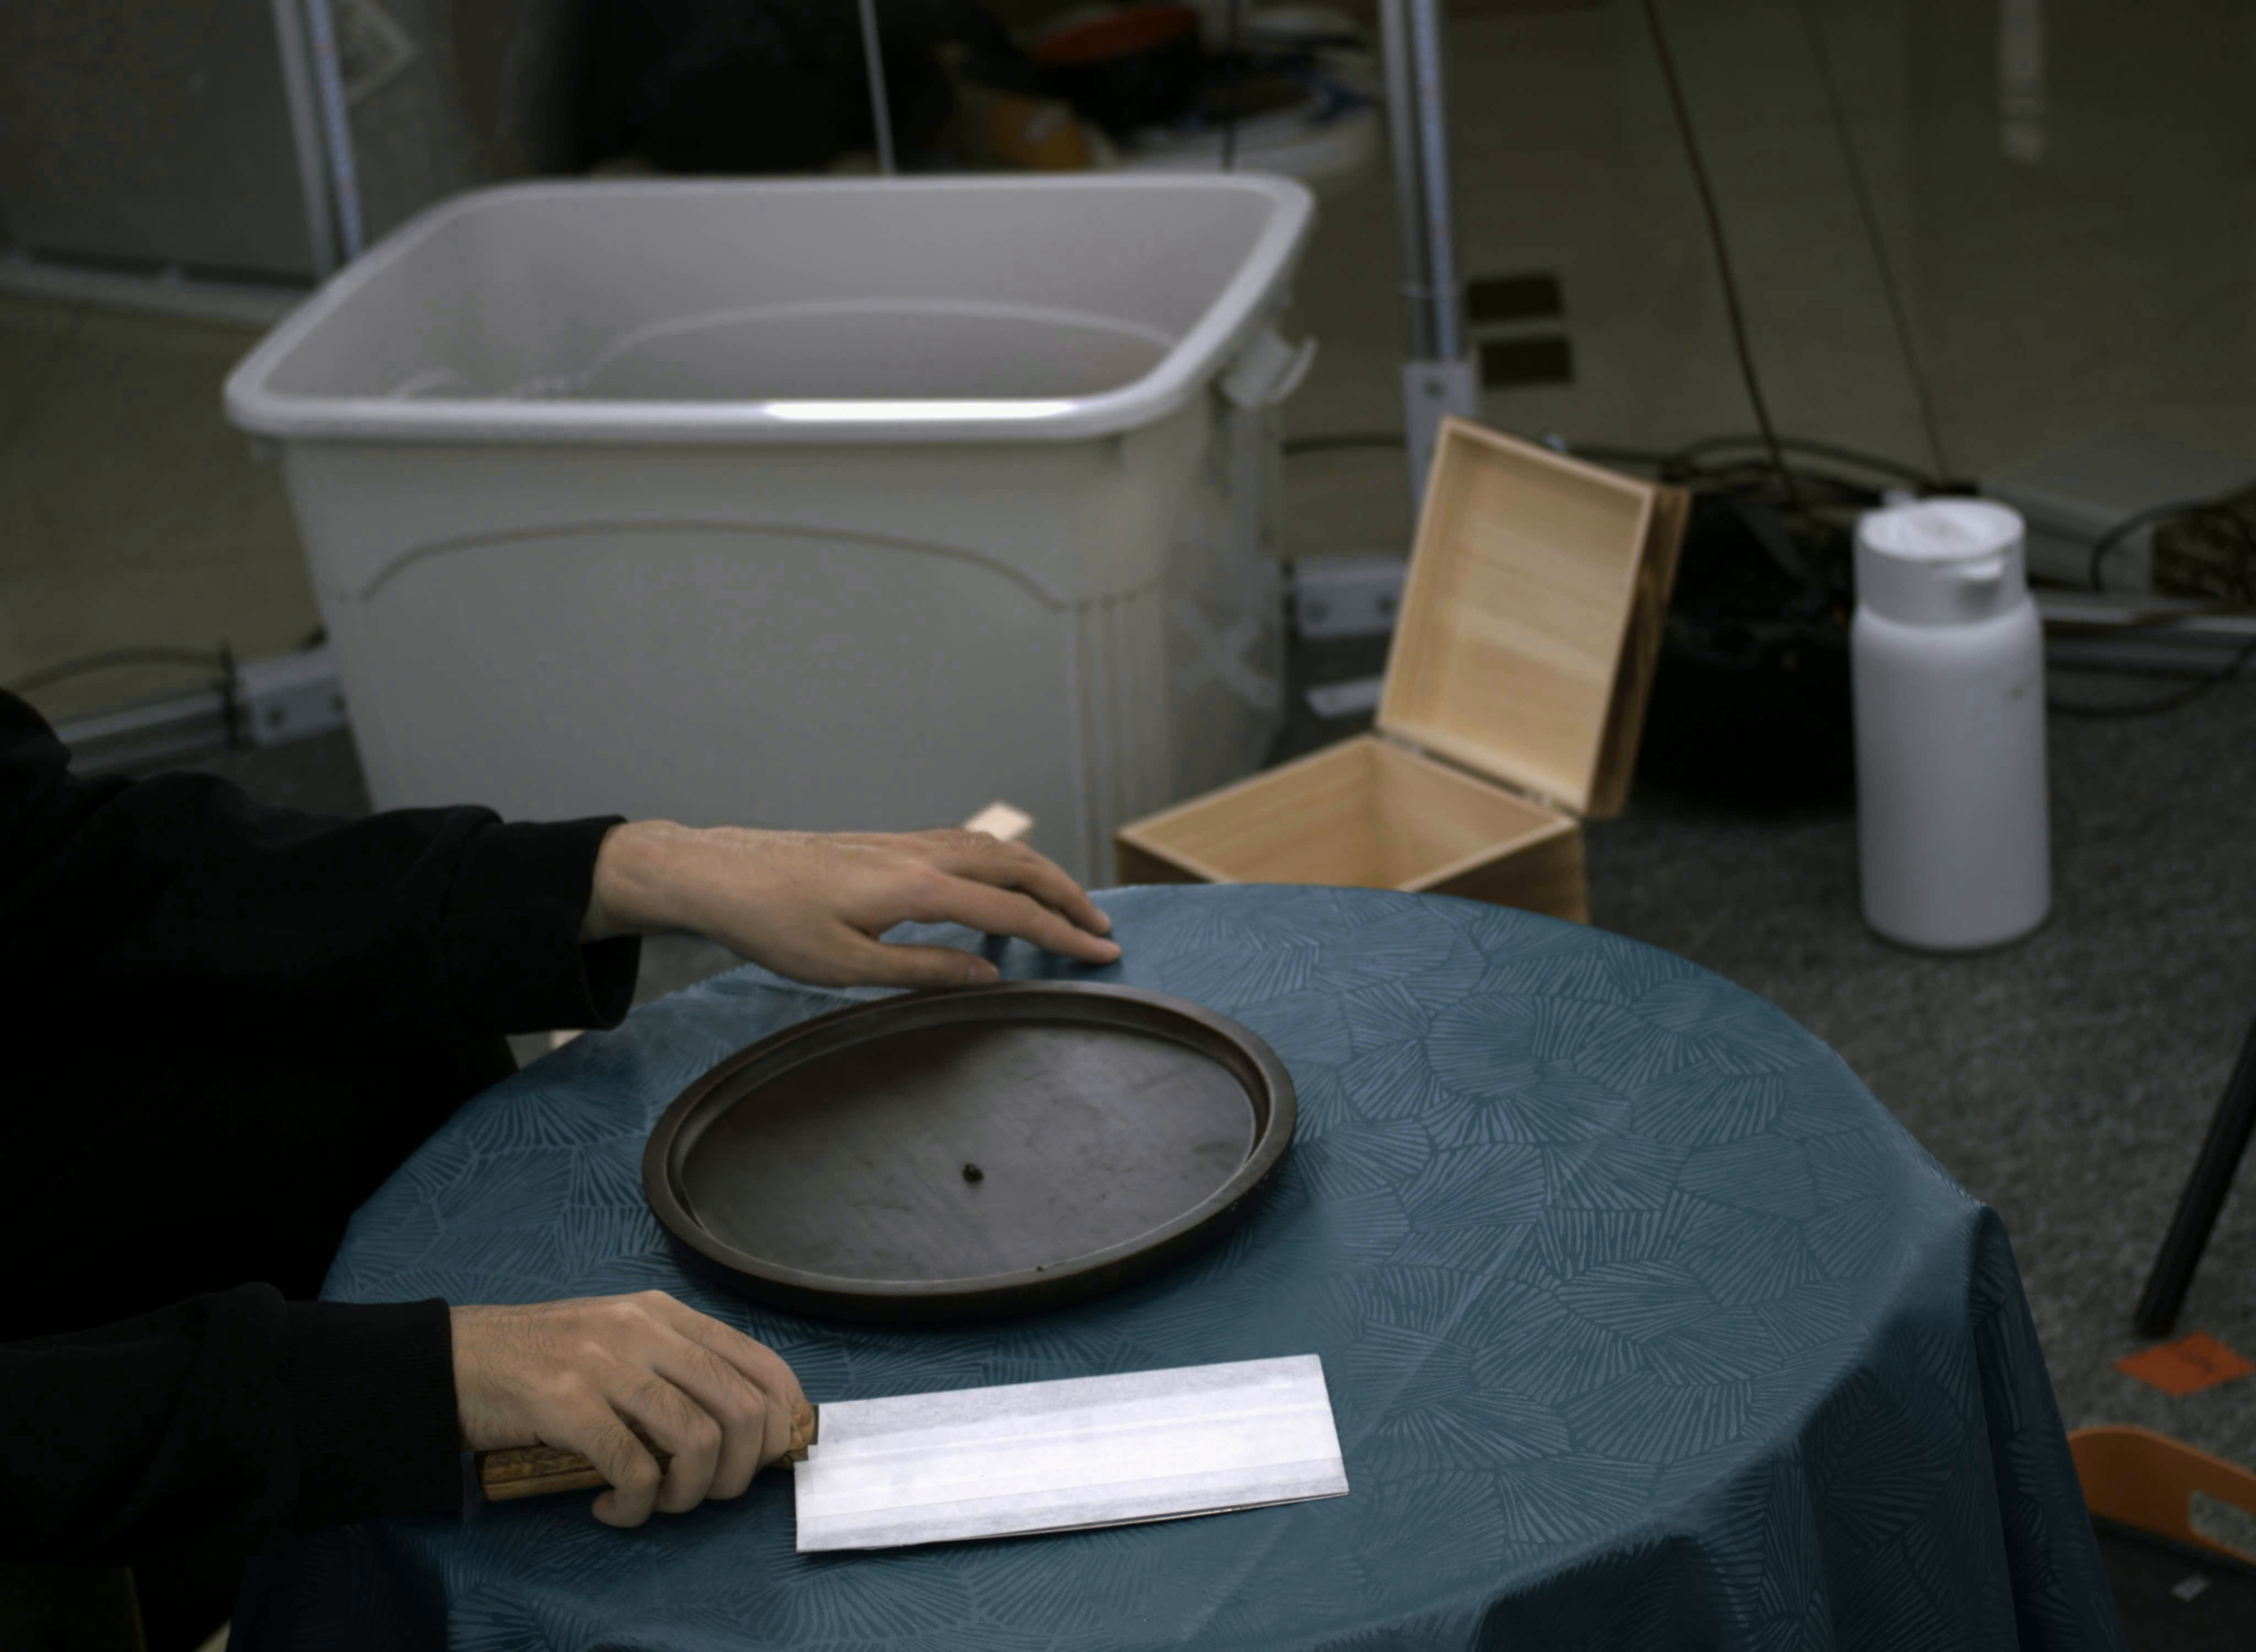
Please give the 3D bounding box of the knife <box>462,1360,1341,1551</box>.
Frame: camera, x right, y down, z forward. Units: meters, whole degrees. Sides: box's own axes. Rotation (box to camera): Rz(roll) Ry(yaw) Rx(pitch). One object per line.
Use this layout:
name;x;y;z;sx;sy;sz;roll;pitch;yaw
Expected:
knife;-0.079;0.221;1.971;0.305;0.021;0.091;-5;26;-3

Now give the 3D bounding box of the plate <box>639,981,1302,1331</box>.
plate;-0.059;0.124;2.164;0.254;0.029;0.251;-4;27;2
